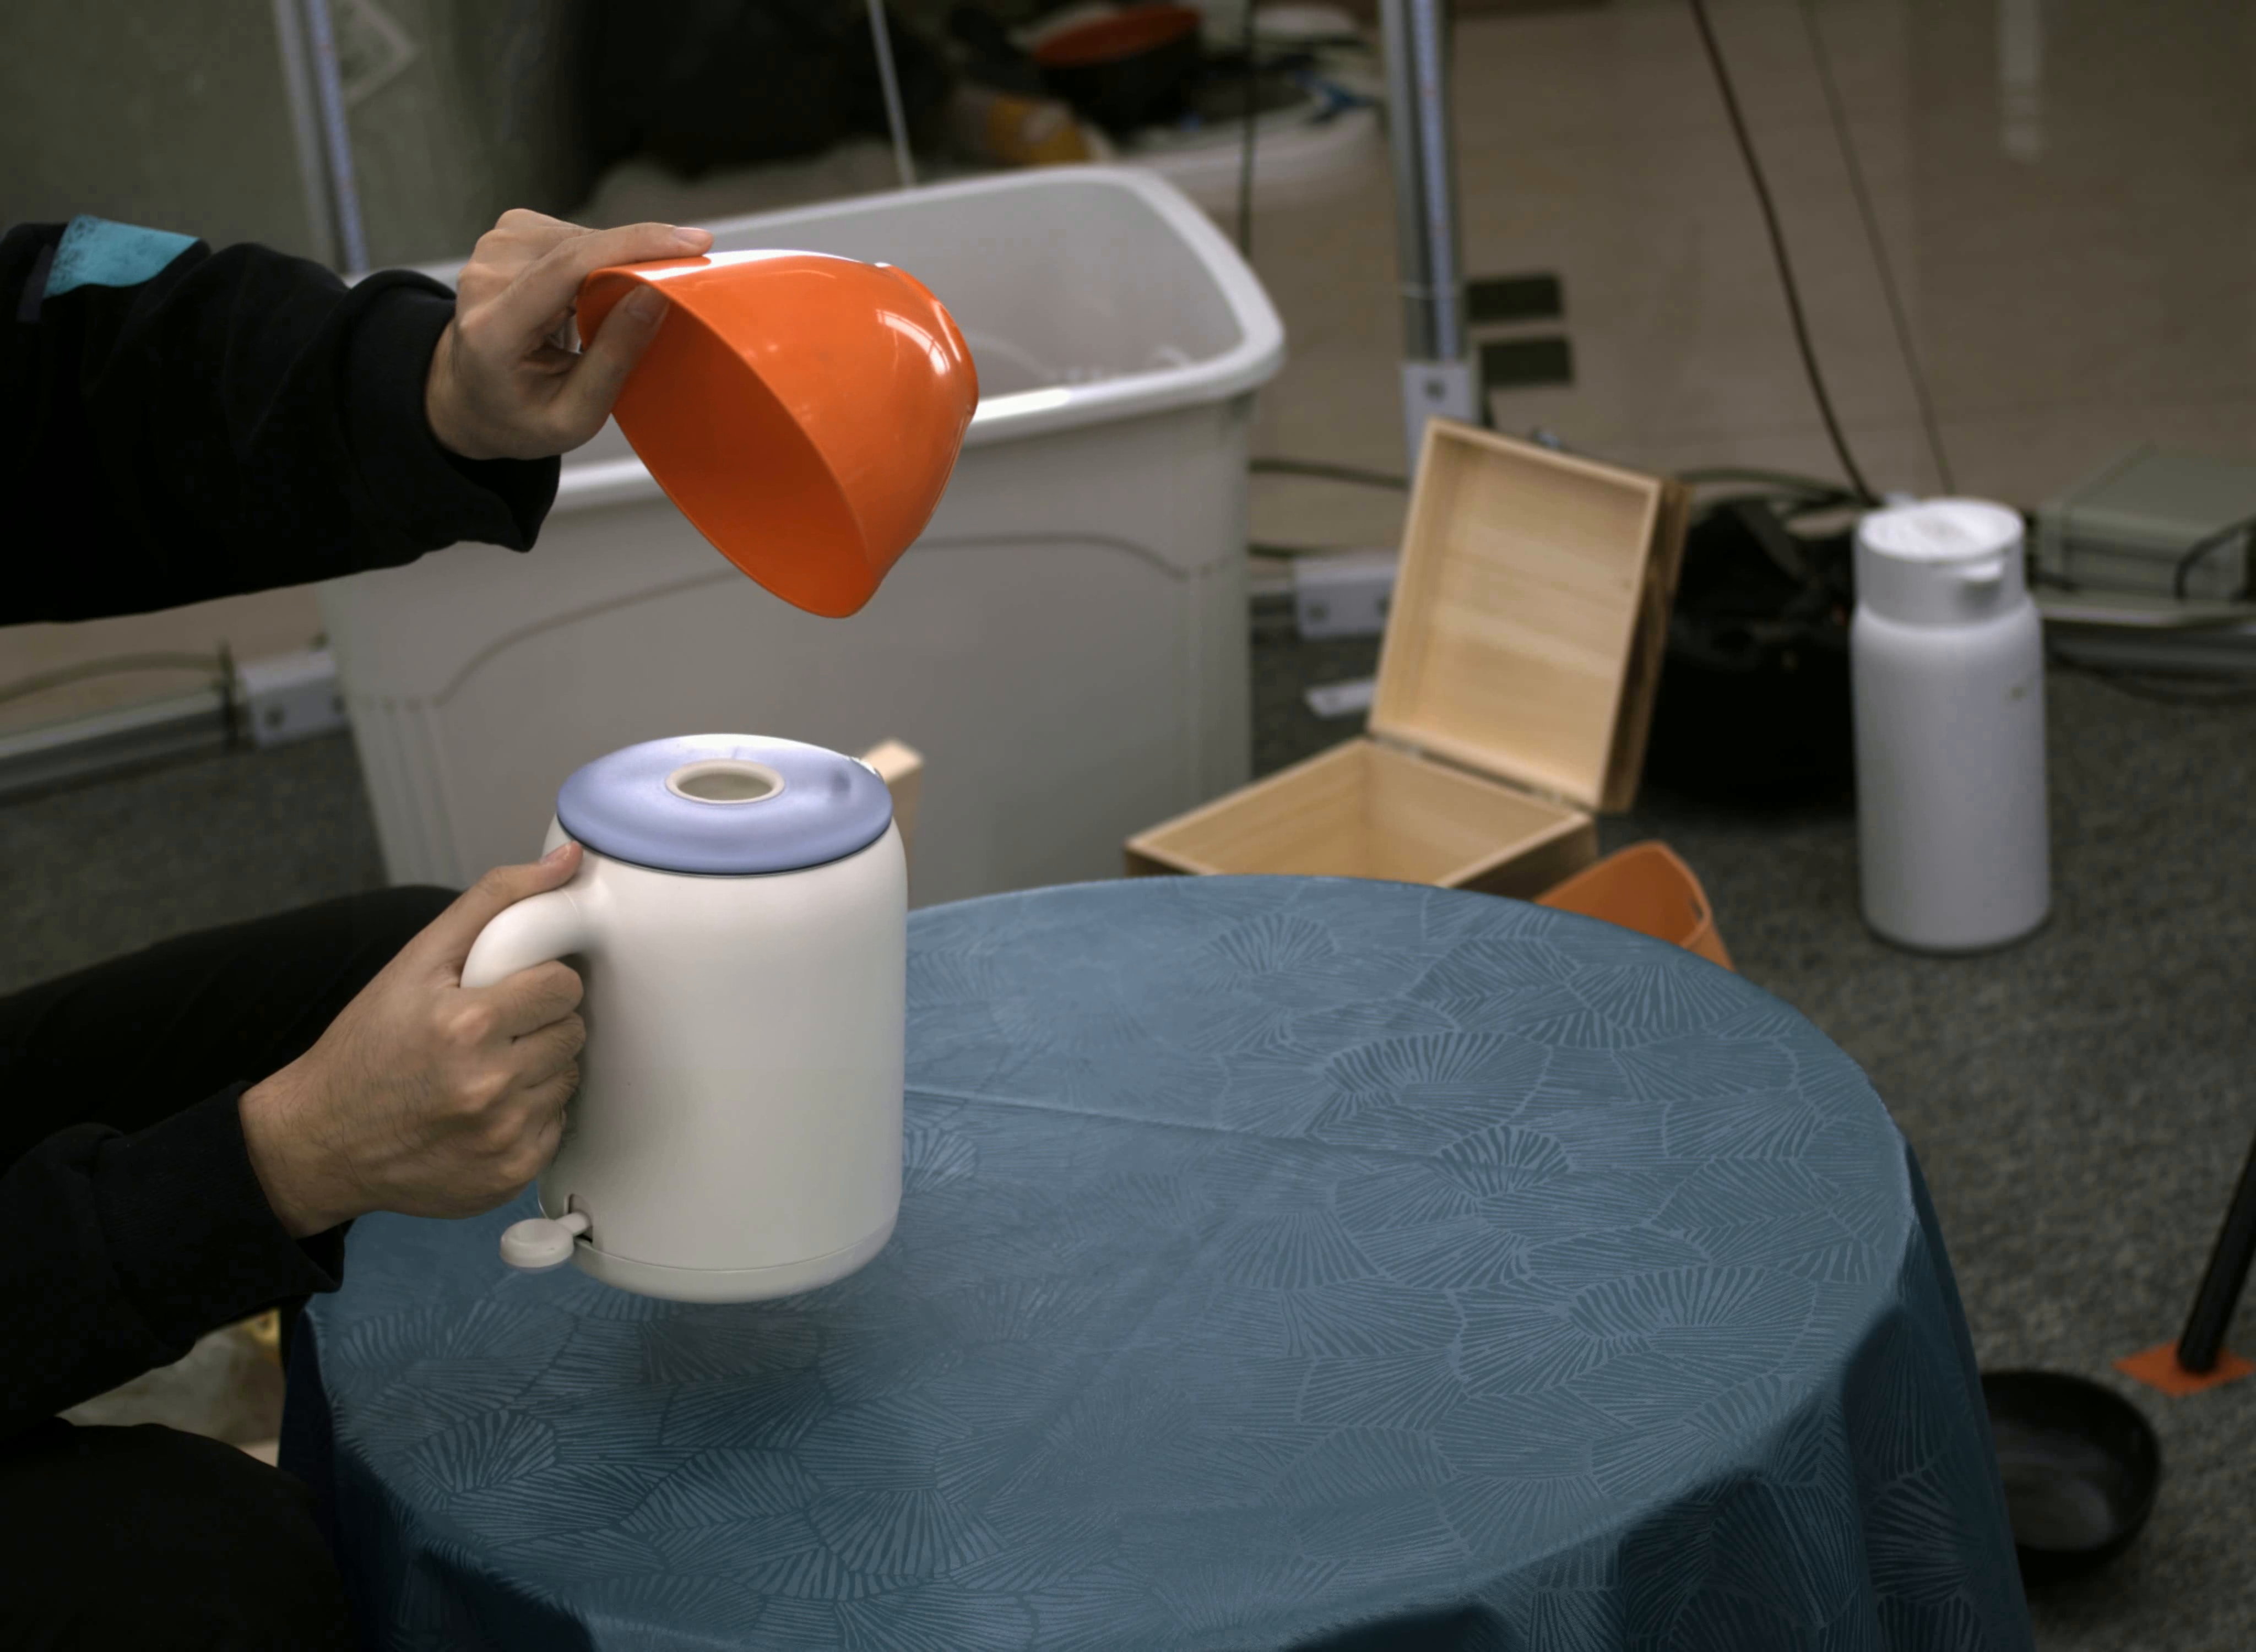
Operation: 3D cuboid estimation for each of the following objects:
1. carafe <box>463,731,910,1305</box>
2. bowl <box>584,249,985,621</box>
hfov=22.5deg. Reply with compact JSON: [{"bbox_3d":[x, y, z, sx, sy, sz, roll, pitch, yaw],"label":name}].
[{"bbox_3d":[-0.161,0.074,2.001,0.131,0.185,0.189,22,33,40],"label":"carafe"},{"bbox_3d":[-0.109,-0.151,1.963,0.103,0.150,0.147,-35,36,-29],"label":"bowl"}]
